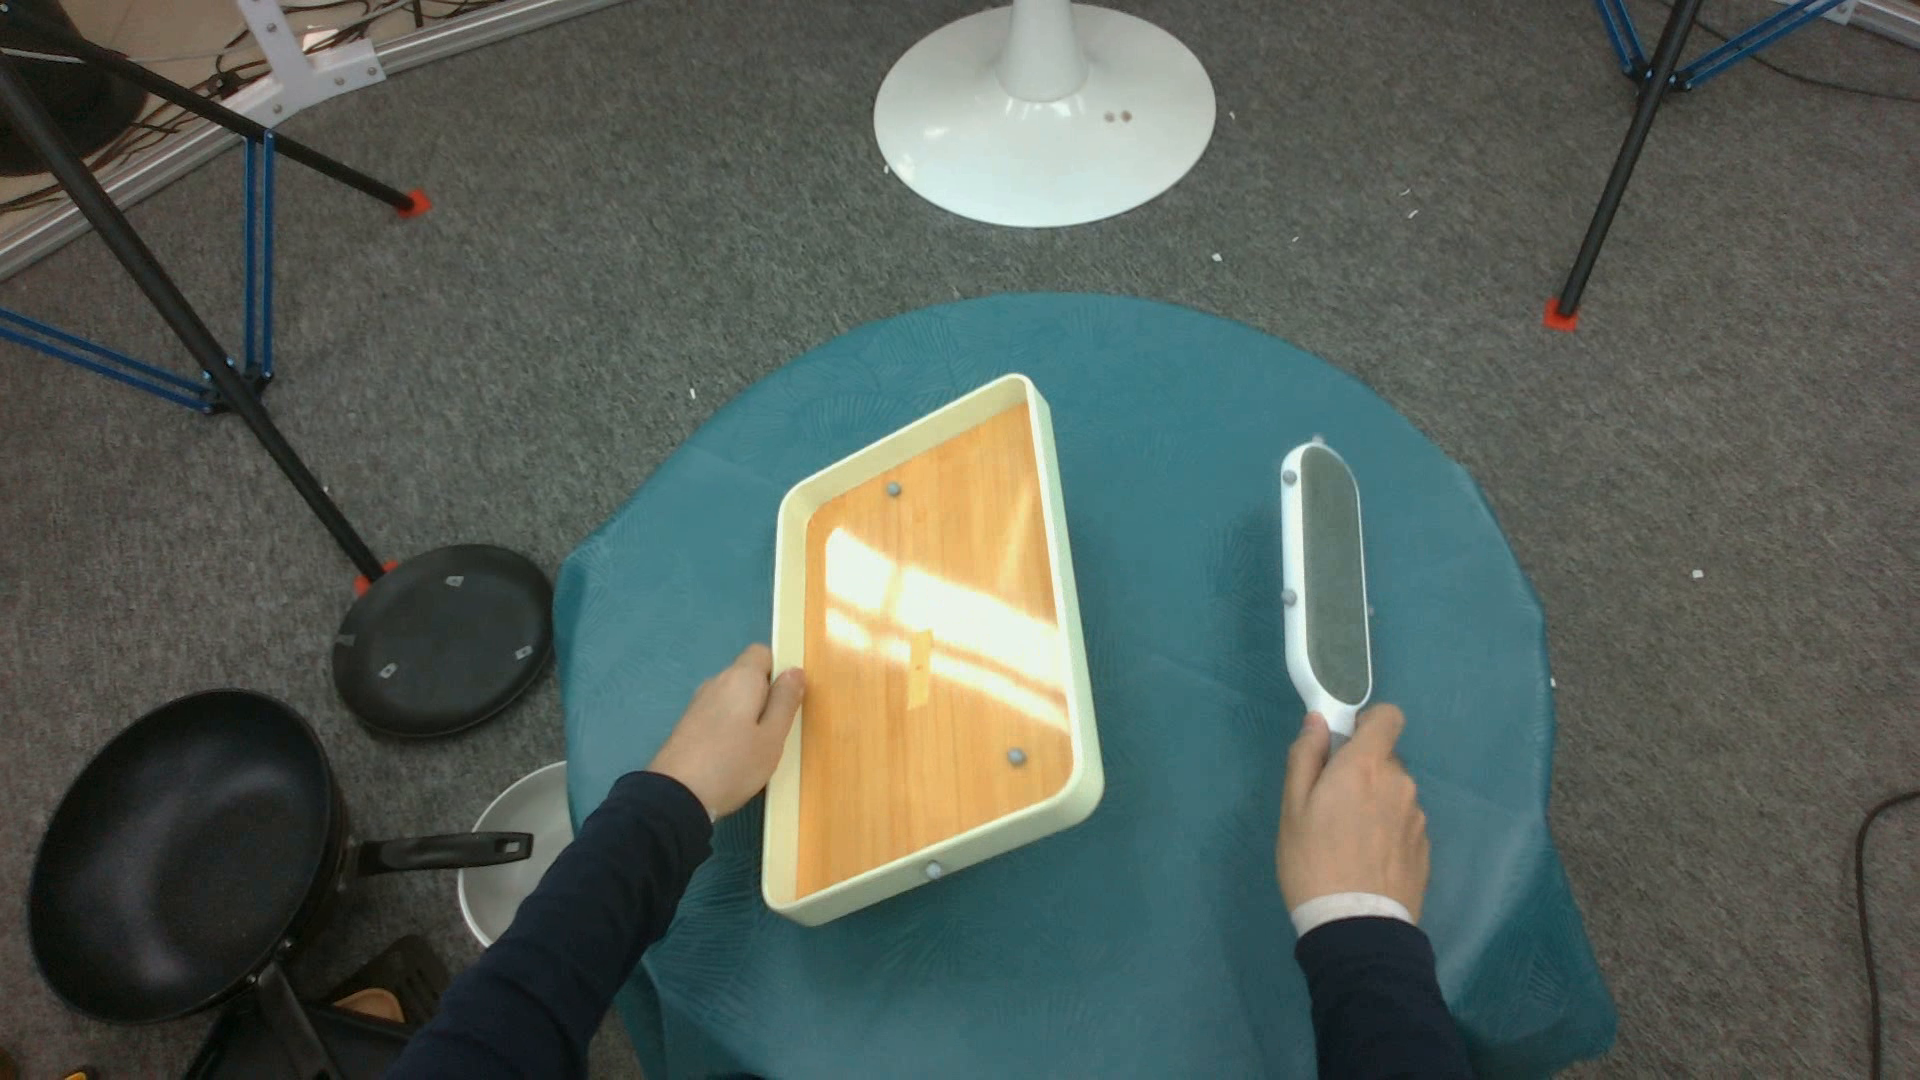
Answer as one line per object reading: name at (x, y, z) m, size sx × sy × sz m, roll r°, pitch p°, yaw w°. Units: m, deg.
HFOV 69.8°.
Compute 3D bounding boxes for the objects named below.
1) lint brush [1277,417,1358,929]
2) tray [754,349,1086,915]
lint brush at (0.199, 0.061, 0.764) m, size 0.021 × 0.060 × 0.310 m, roll -25°, pitch 47°, yaw 42°
tray at (-0.031, 0.040, 0.758) m, size 0.191 × 0.027 × 0.301 m, roll -28°, pitch 43°, yaw 25°
